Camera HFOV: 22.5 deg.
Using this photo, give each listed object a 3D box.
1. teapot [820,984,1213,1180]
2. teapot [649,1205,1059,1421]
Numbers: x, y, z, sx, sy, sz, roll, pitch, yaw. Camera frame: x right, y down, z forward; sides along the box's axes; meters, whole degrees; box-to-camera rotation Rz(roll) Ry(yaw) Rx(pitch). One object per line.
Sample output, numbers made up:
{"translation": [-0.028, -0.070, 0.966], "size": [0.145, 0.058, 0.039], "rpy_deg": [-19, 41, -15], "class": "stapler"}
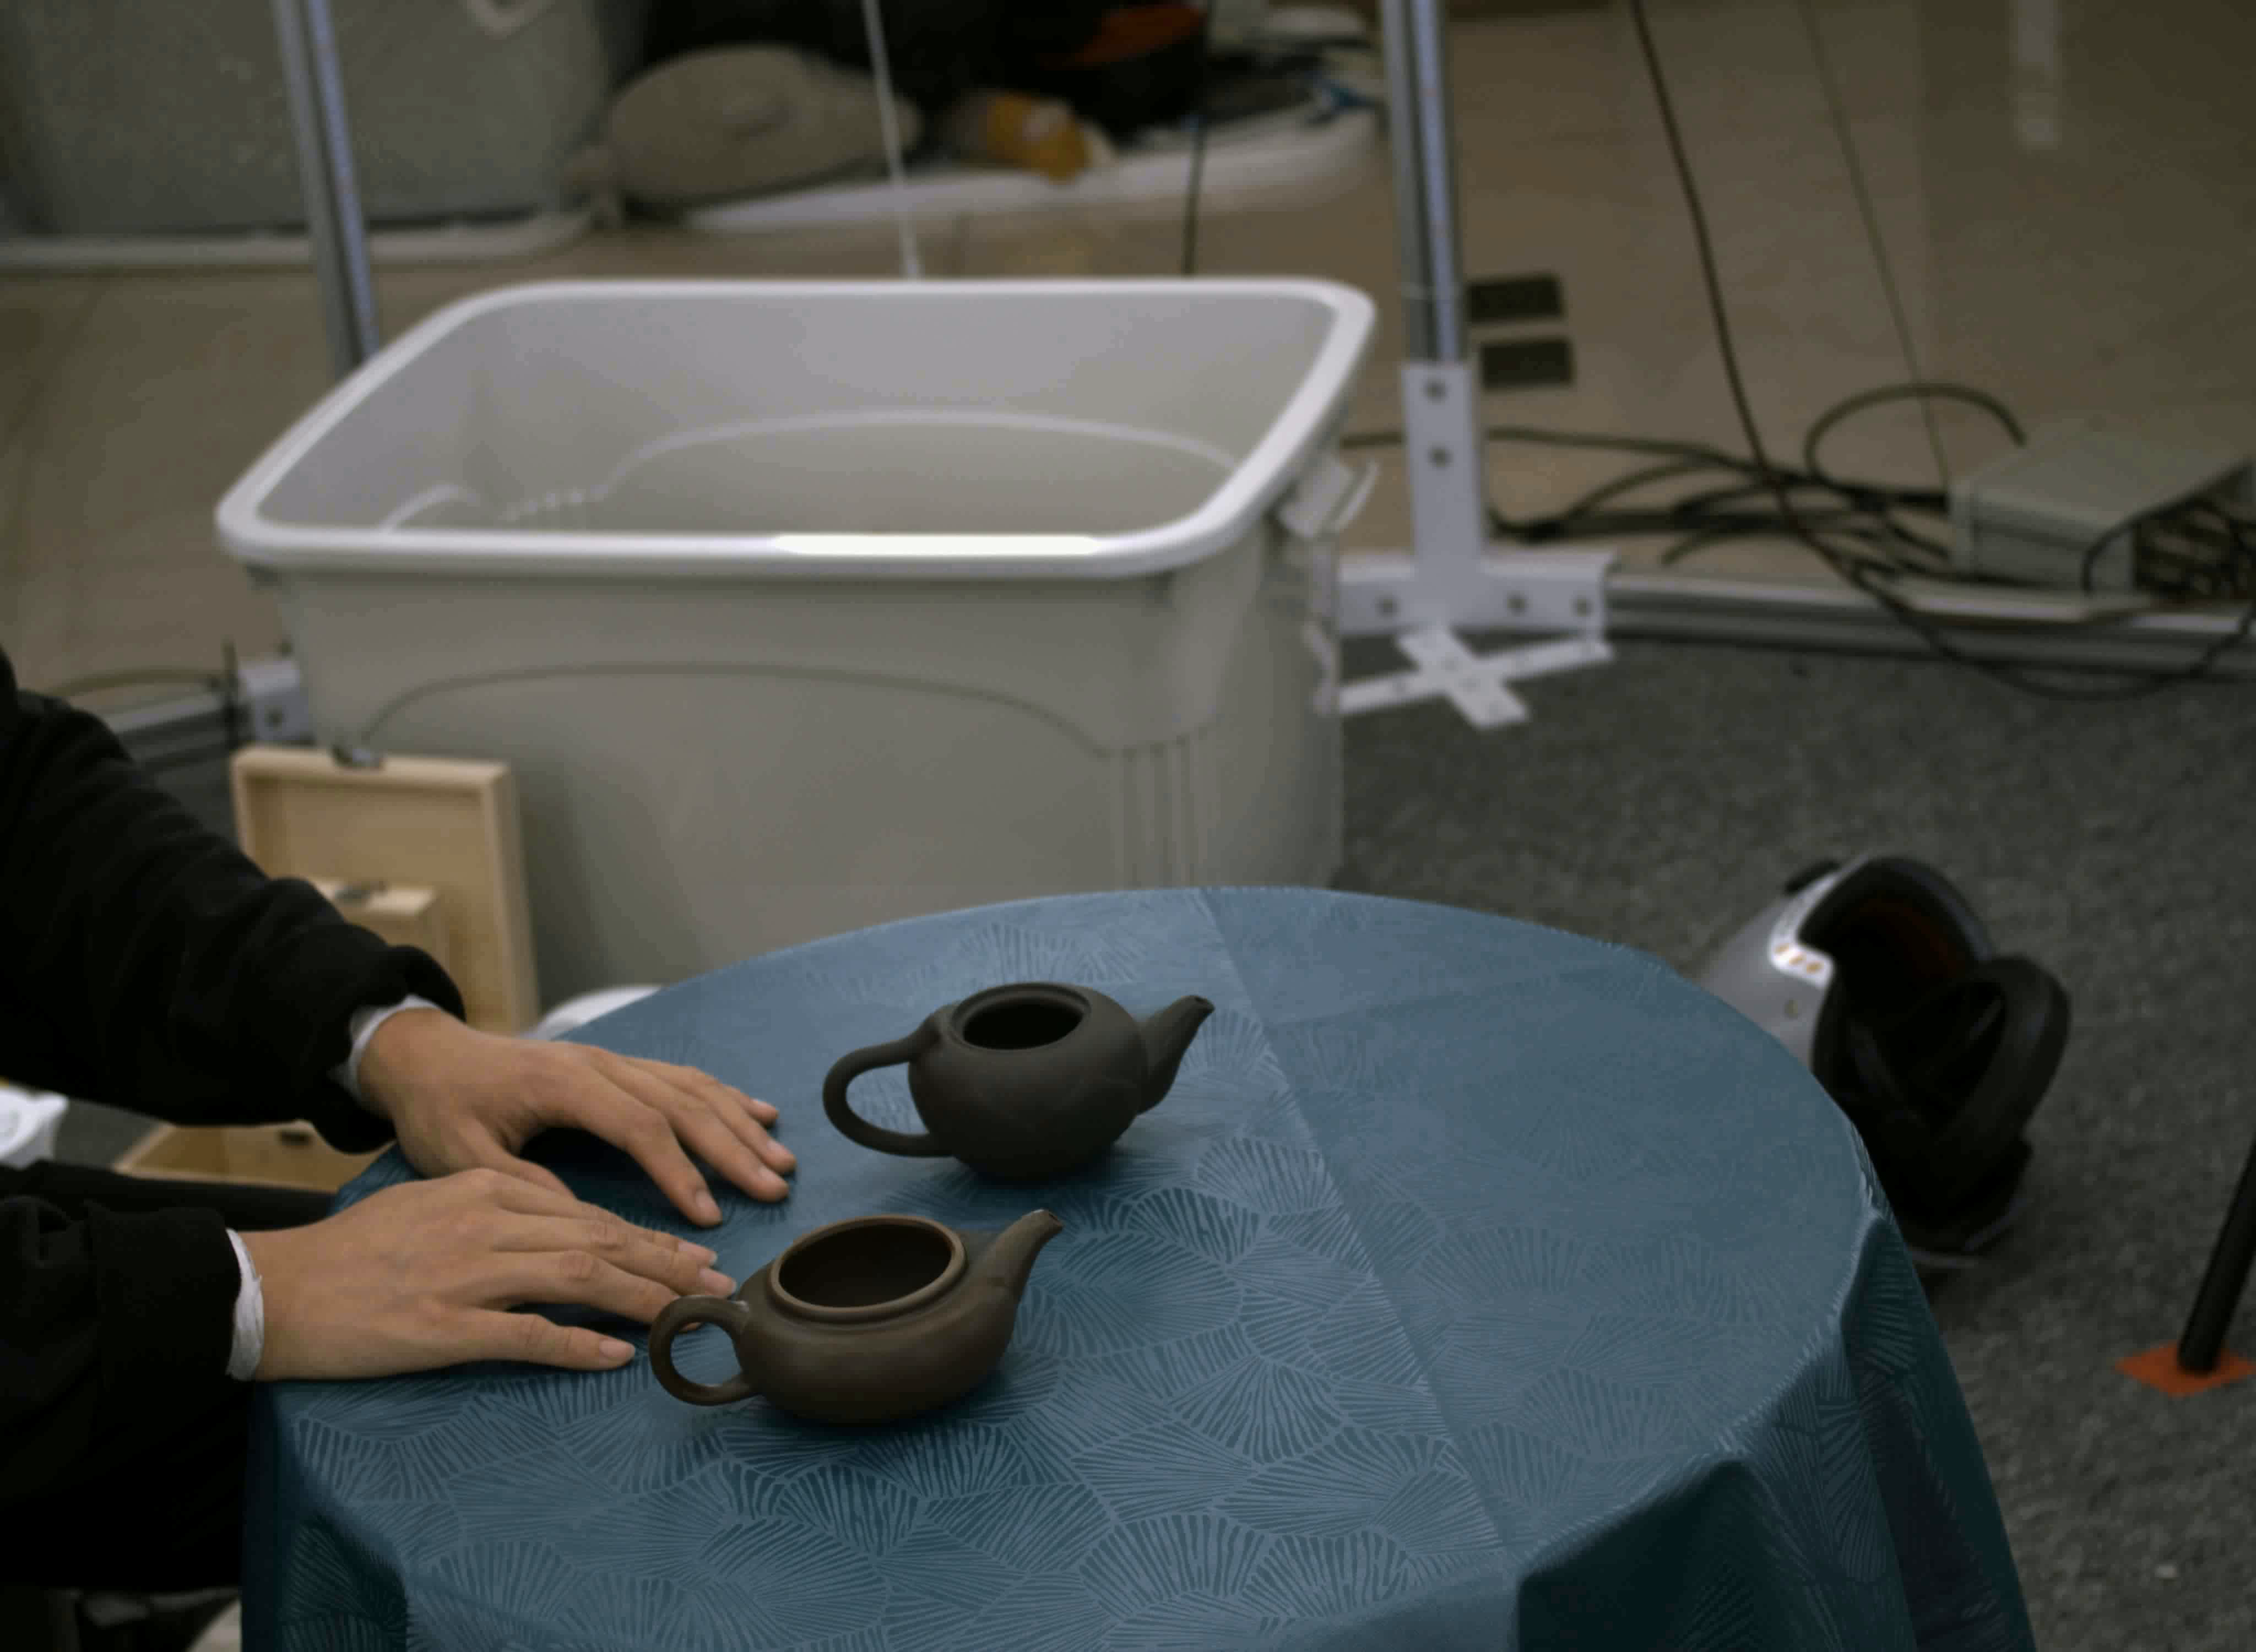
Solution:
{"translation": [-0.041, 0.097, 2.174], "size": [0.154, 0.065, 0.091], "rpy_deg": [-8, 24, -5], "class": "teapot"}
{"translation": [-0.096, 0.175, 2.030], "size": [0.153, 0.054, 0.101], "rpy_deg": [-13, 24, -15], "class": "teapot"}
